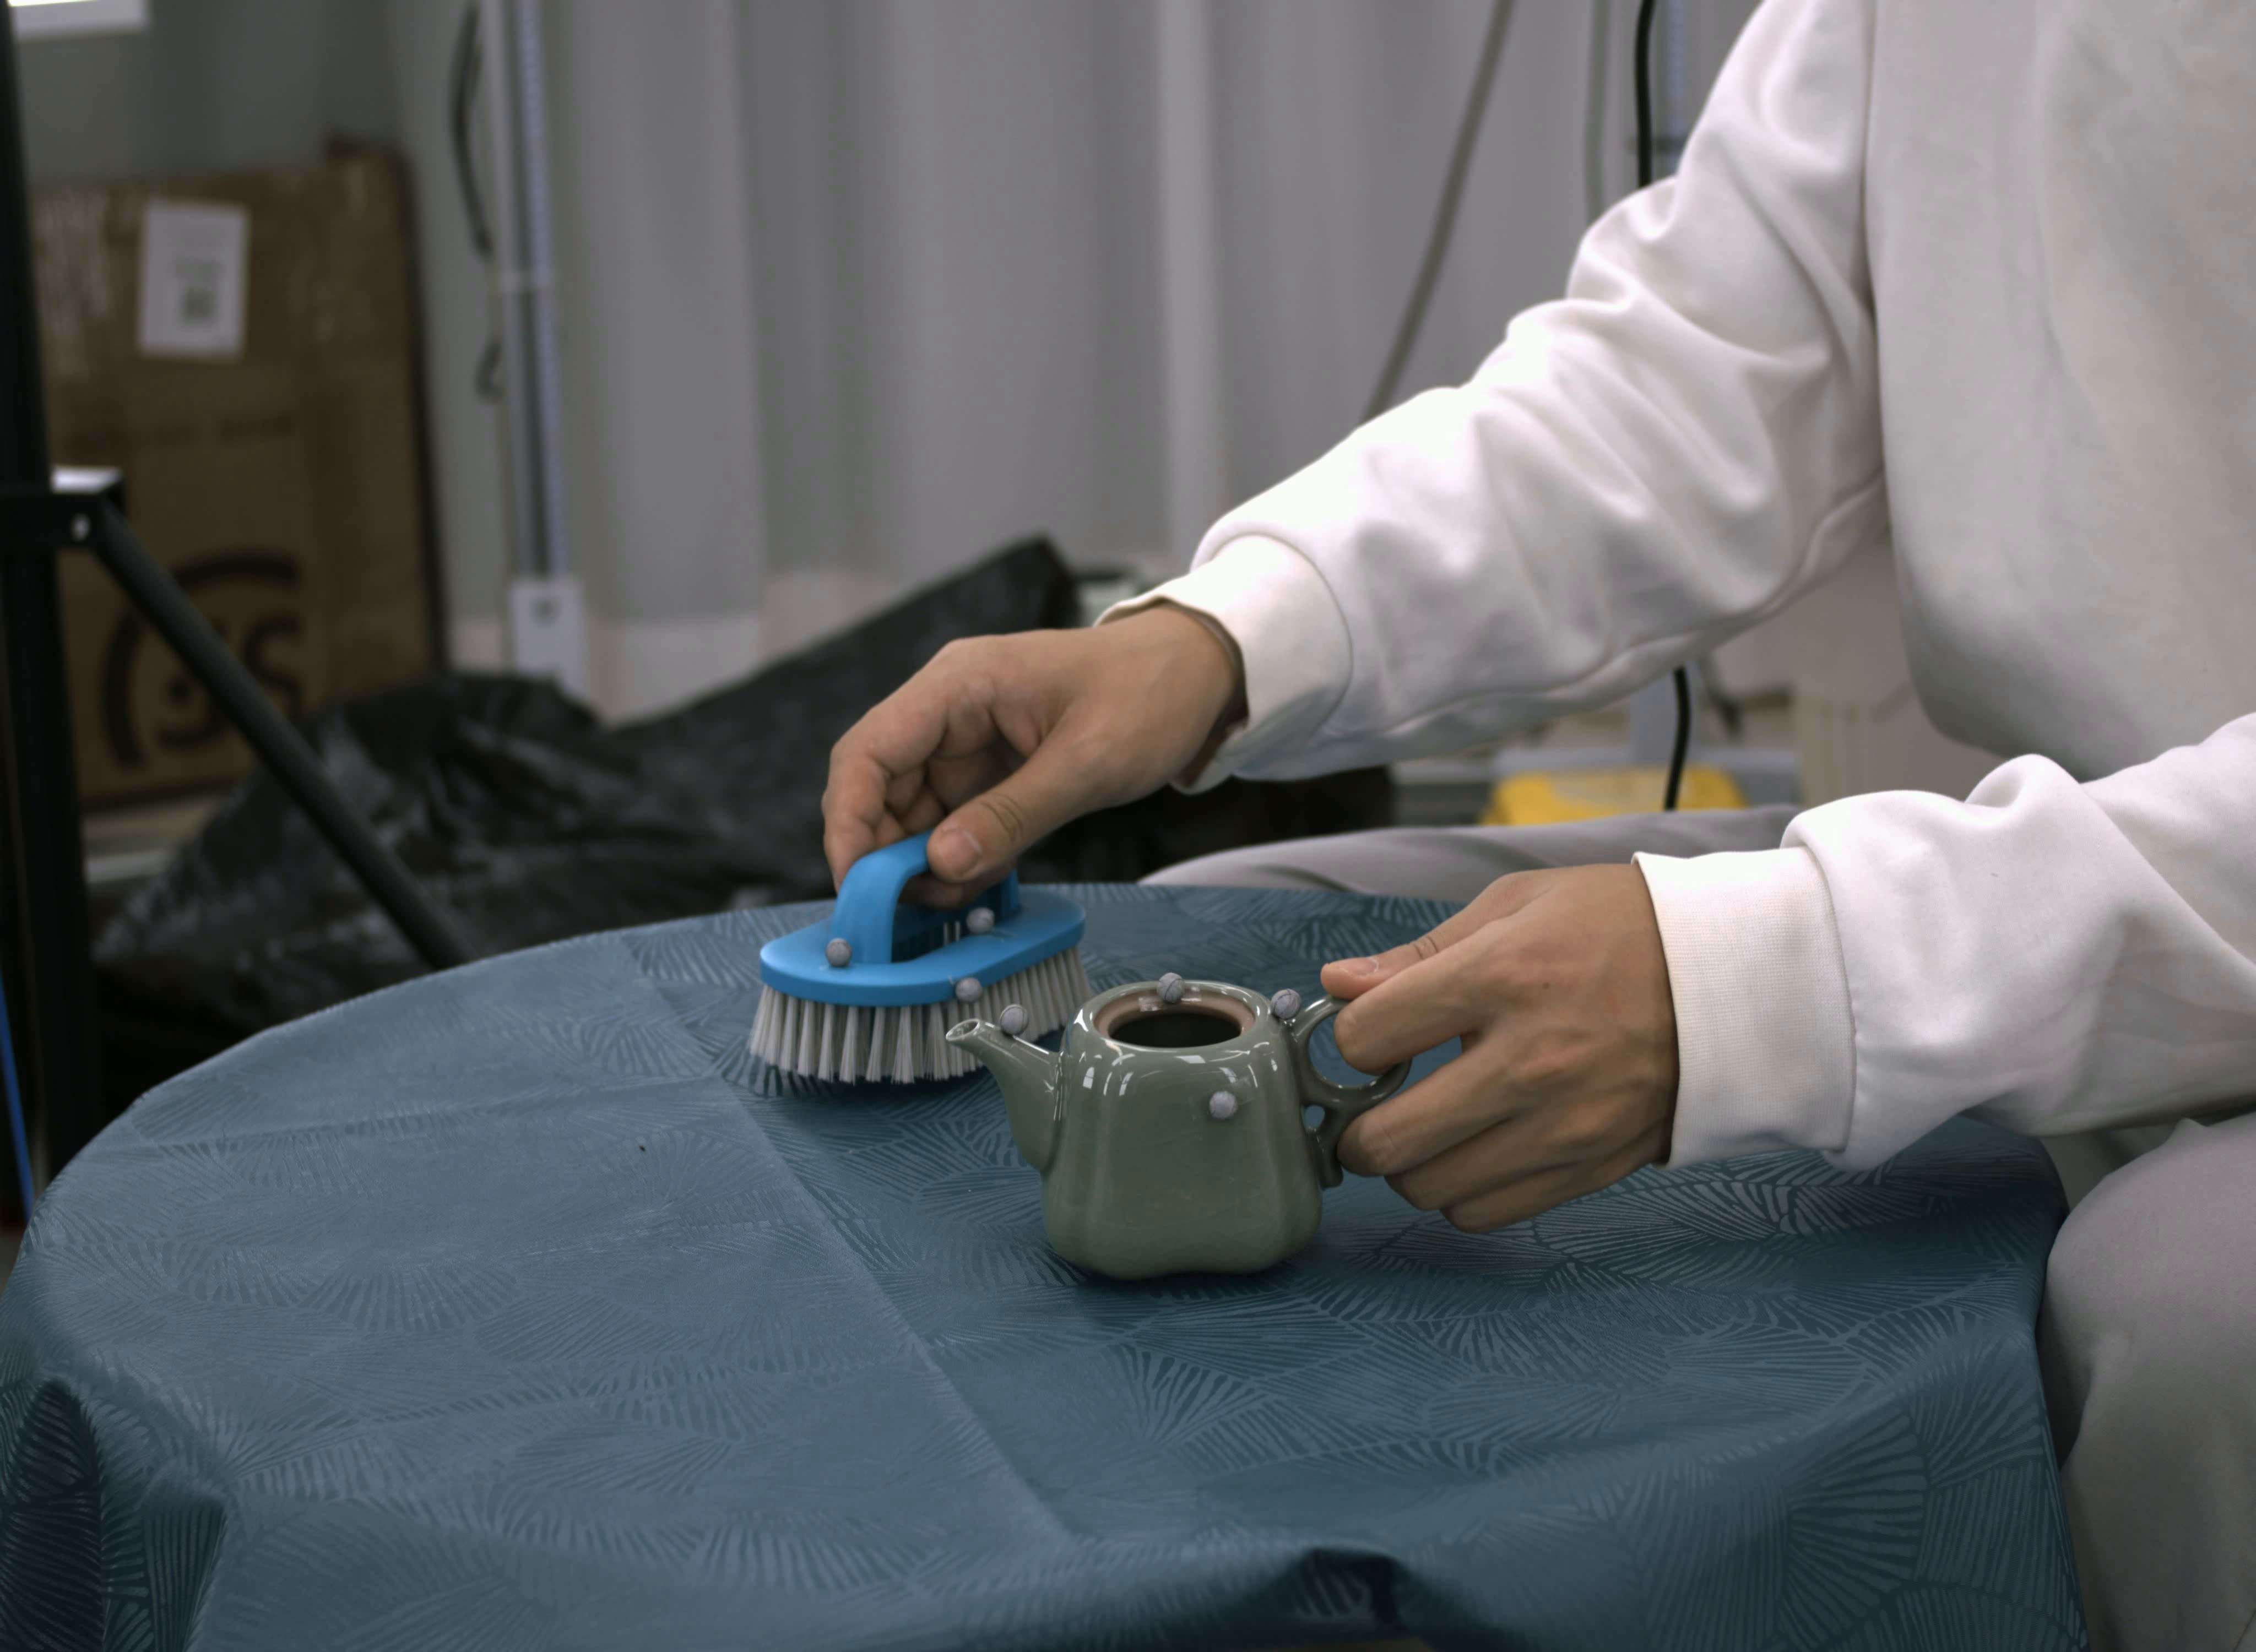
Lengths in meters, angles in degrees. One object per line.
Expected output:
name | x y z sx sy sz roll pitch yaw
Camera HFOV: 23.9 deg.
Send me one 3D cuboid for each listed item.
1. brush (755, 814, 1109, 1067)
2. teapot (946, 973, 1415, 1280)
brush | -0.064 0.032 1.698 0.086 0.064 0.139 3 12 30
teapot | 0.016 0.083 1.500 0.132 0.075 0.080 -3 21 -1
